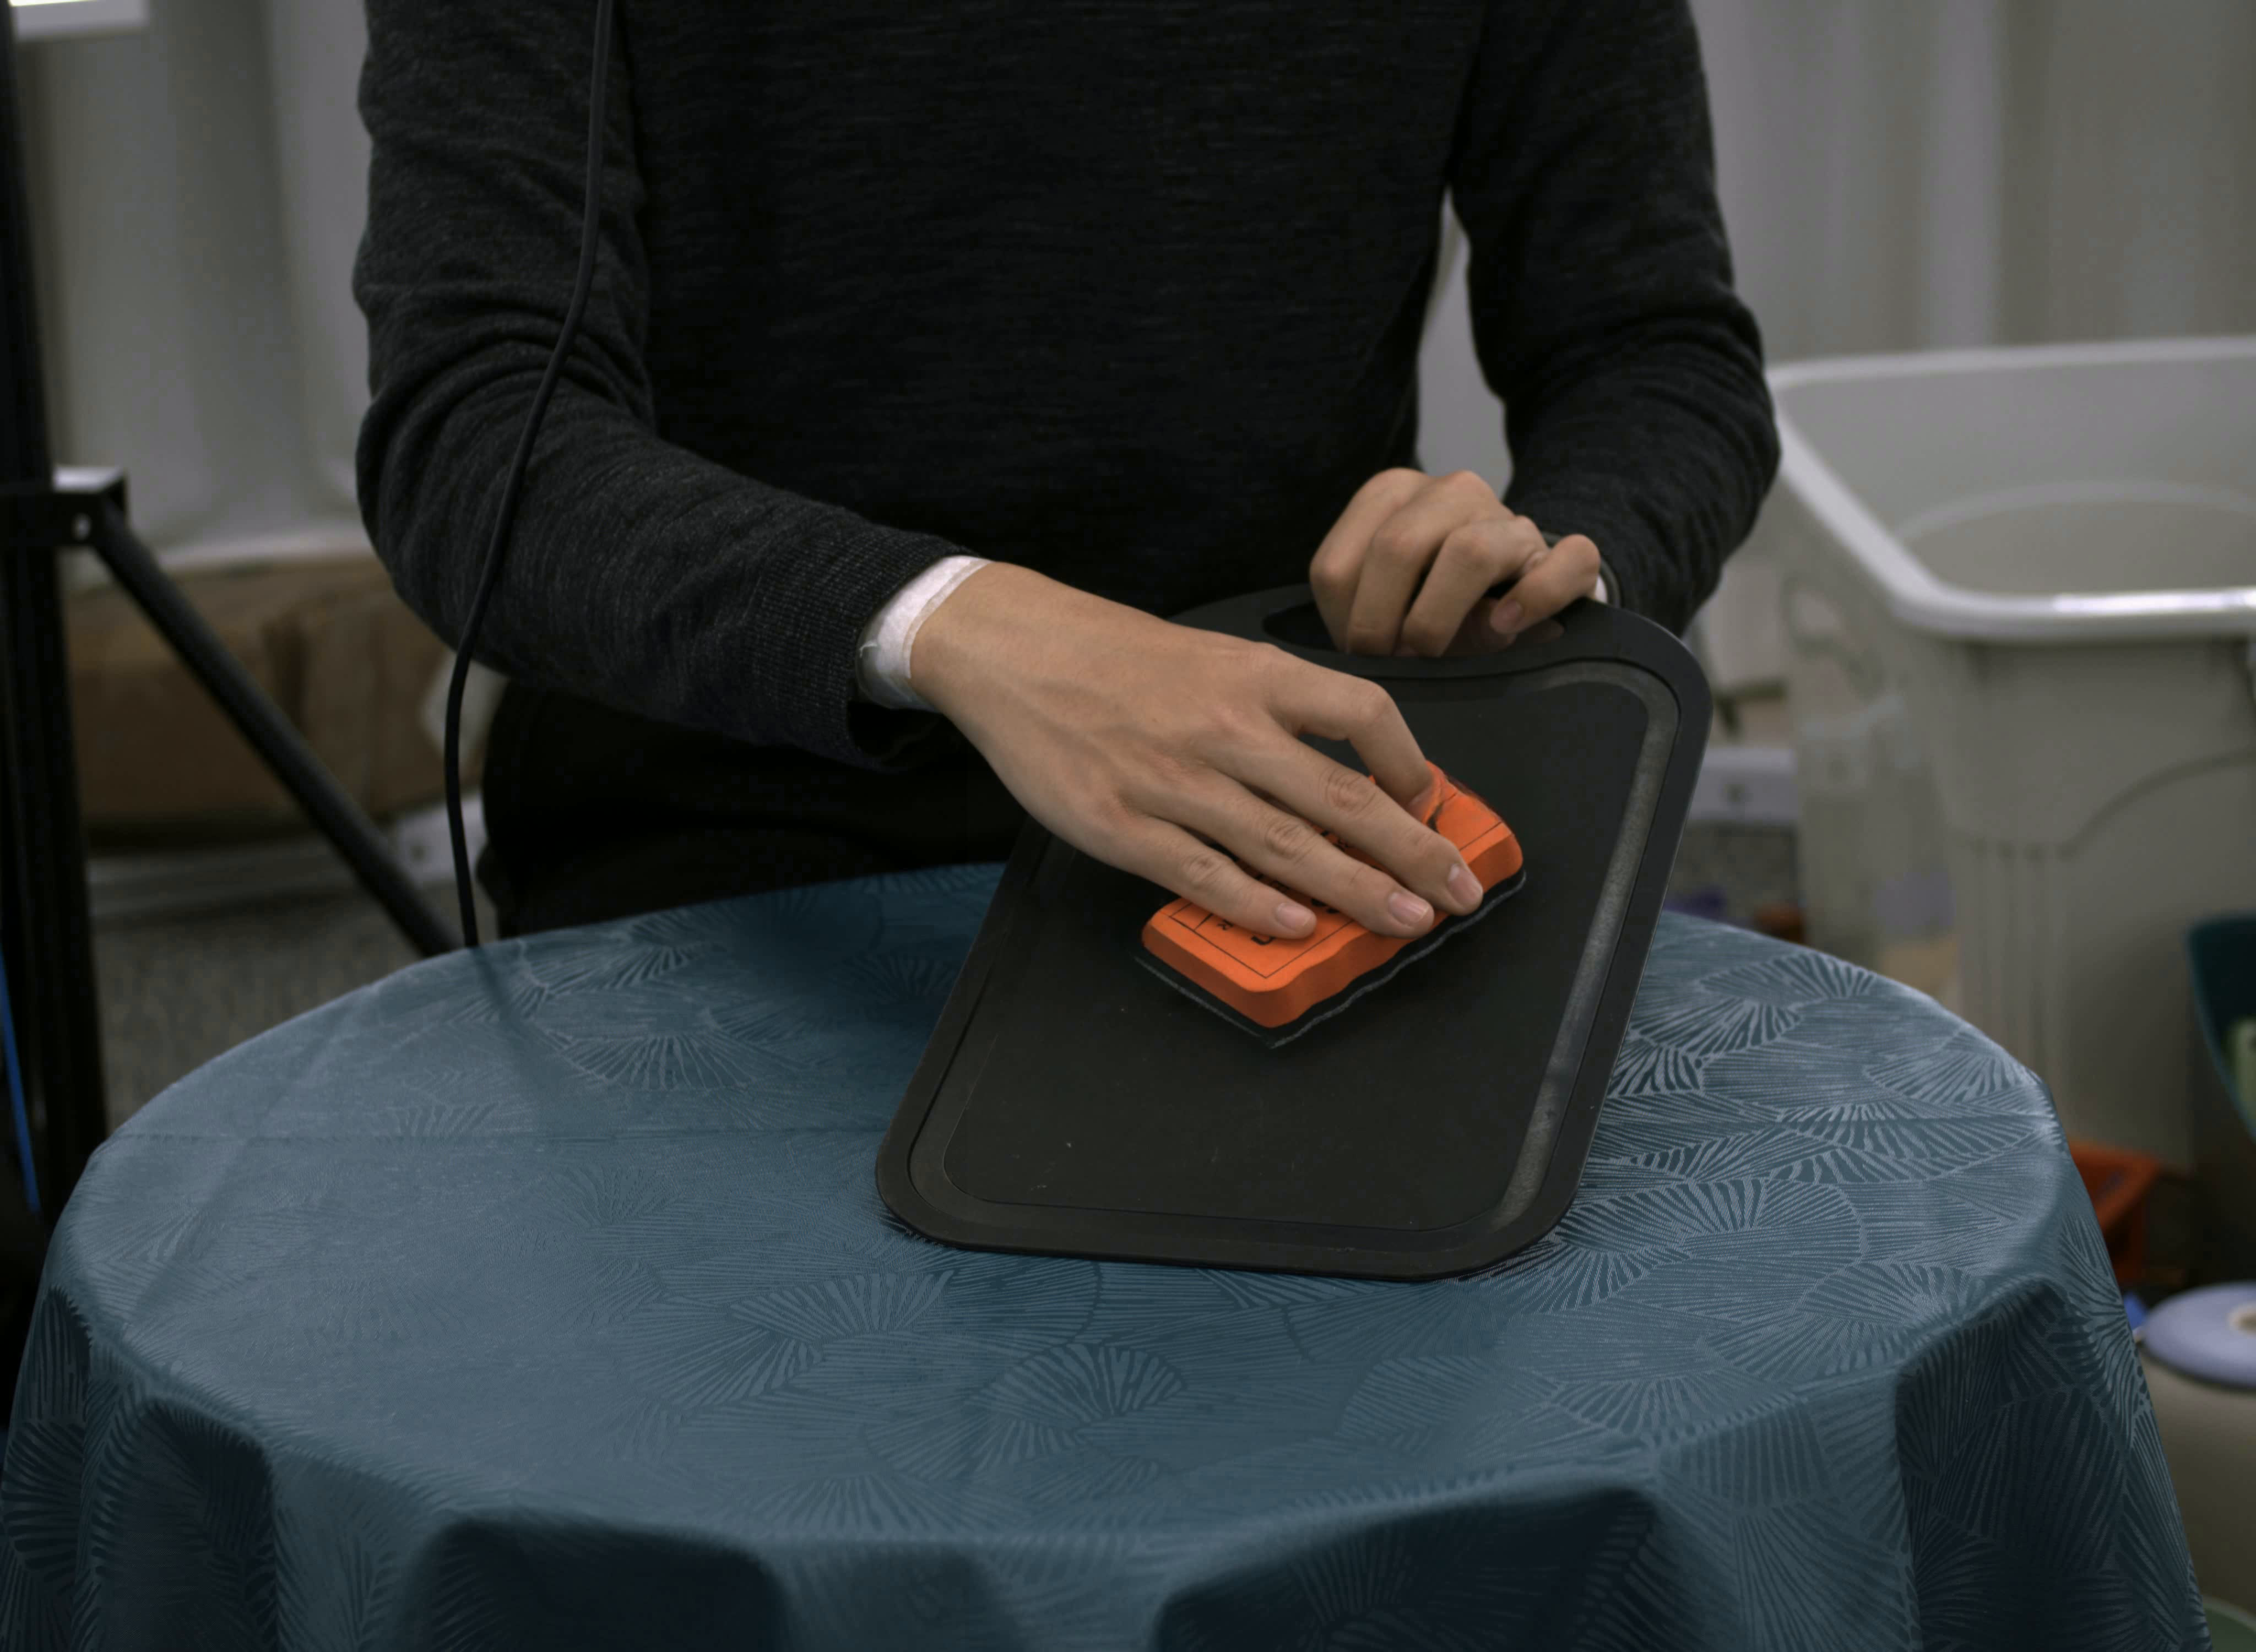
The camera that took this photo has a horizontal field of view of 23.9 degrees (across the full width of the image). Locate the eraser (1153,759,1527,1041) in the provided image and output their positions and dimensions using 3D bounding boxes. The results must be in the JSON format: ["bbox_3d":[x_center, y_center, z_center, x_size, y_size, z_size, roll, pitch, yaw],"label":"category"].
[{"bbox_3d":[0.064,0.022,1.601,0.106,0.022,0.060,-31,39,-23],"label":"eraser"}]

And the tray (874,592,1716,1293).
[{"bbox_3d":[0.057,0.024,1.615,0.213,0.010,0.325,3,39,18],"label":"tray"}]
